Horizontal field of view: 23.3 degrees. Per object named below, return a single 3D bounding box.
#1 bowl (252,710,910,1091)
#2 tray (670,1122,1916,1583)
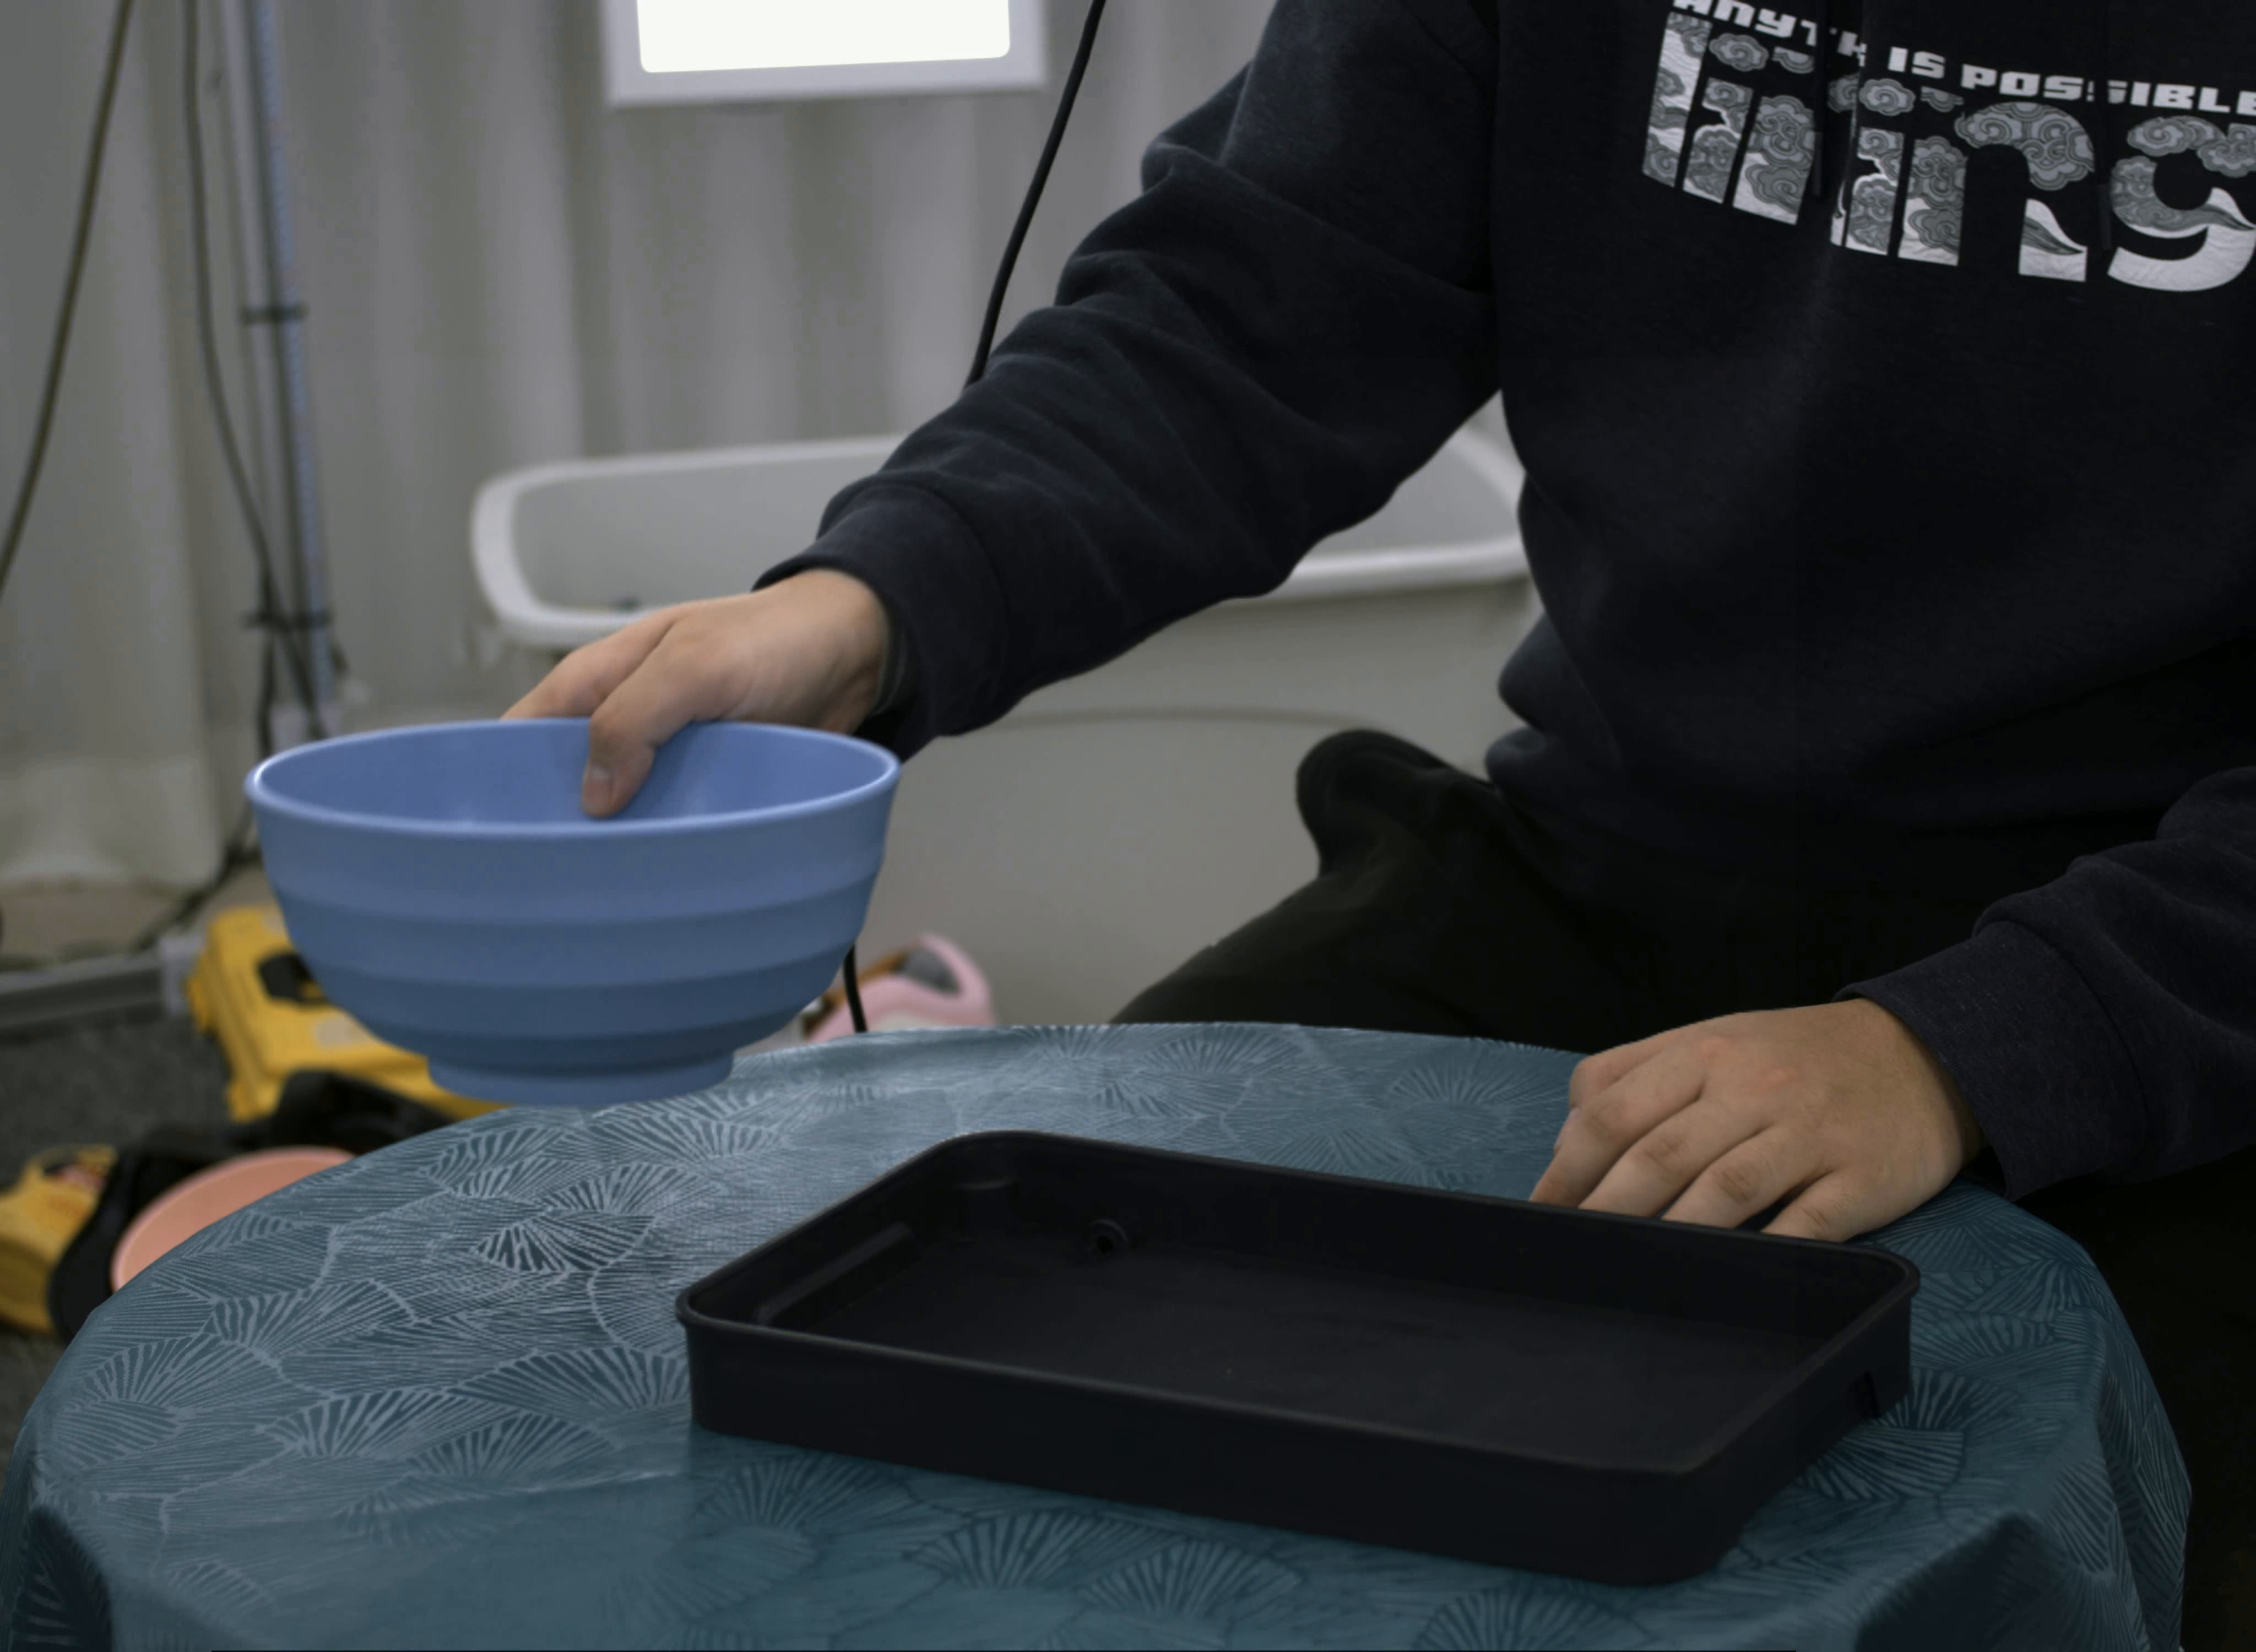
[{"bbox_3d":[-0.162,0.024,1.642,0.196,0.095,0.197,-1,9,0],"label":"bowl"},{"bbox_3d":[0.045,0.143,1.531,0.319,0.037,0.184,6,17,29],"label":"tray"}]
